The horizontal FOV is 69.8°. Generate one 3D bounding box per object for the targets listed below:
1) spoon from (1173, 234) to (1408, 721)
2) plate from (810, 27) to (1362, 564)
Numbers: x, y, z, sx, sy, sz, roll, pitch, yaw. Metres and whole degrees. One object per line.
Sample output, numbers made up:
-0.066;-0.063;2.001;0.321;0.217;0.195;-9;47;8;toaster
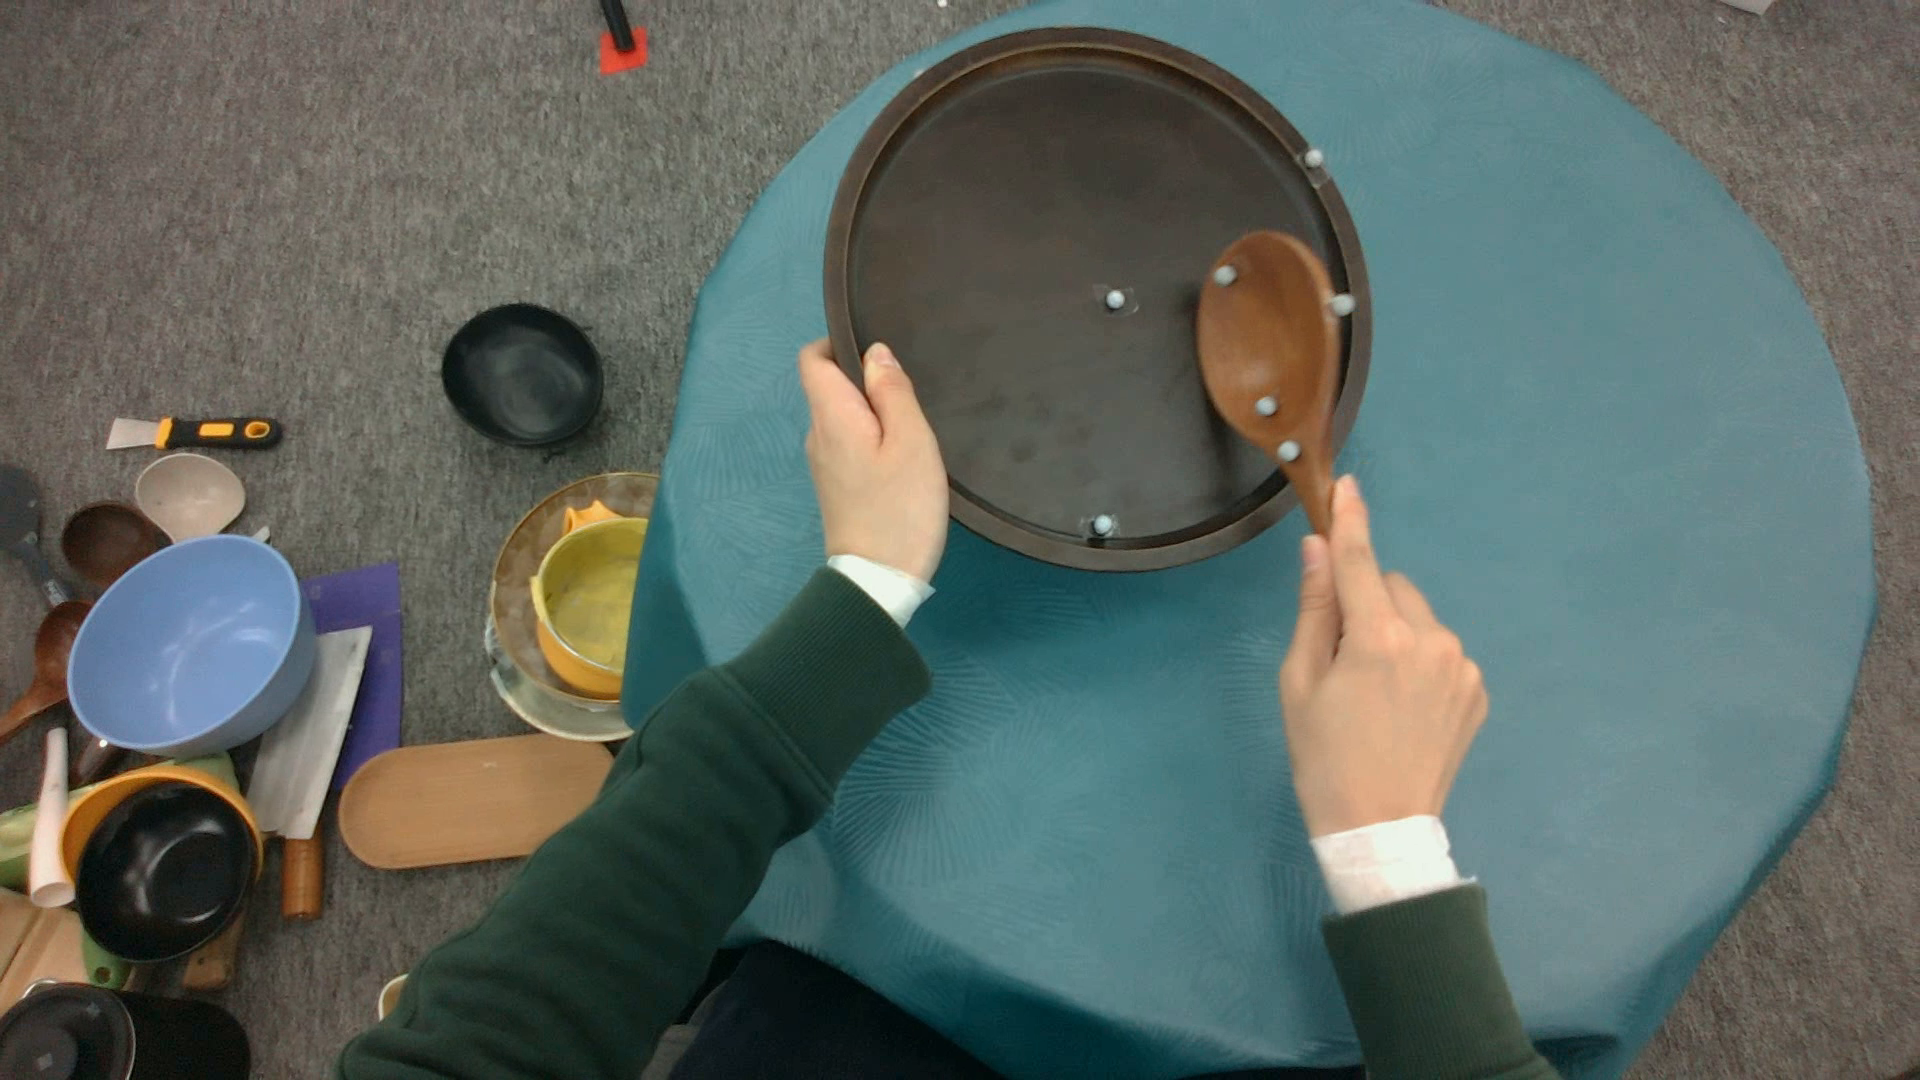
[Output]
0.141;-0.029;0.573;0.017;0.075;0.216;-2;69;-37;spoon
0.059;-0.112;0.618;0.255;0.029;0.255;3;76;-12;plate
